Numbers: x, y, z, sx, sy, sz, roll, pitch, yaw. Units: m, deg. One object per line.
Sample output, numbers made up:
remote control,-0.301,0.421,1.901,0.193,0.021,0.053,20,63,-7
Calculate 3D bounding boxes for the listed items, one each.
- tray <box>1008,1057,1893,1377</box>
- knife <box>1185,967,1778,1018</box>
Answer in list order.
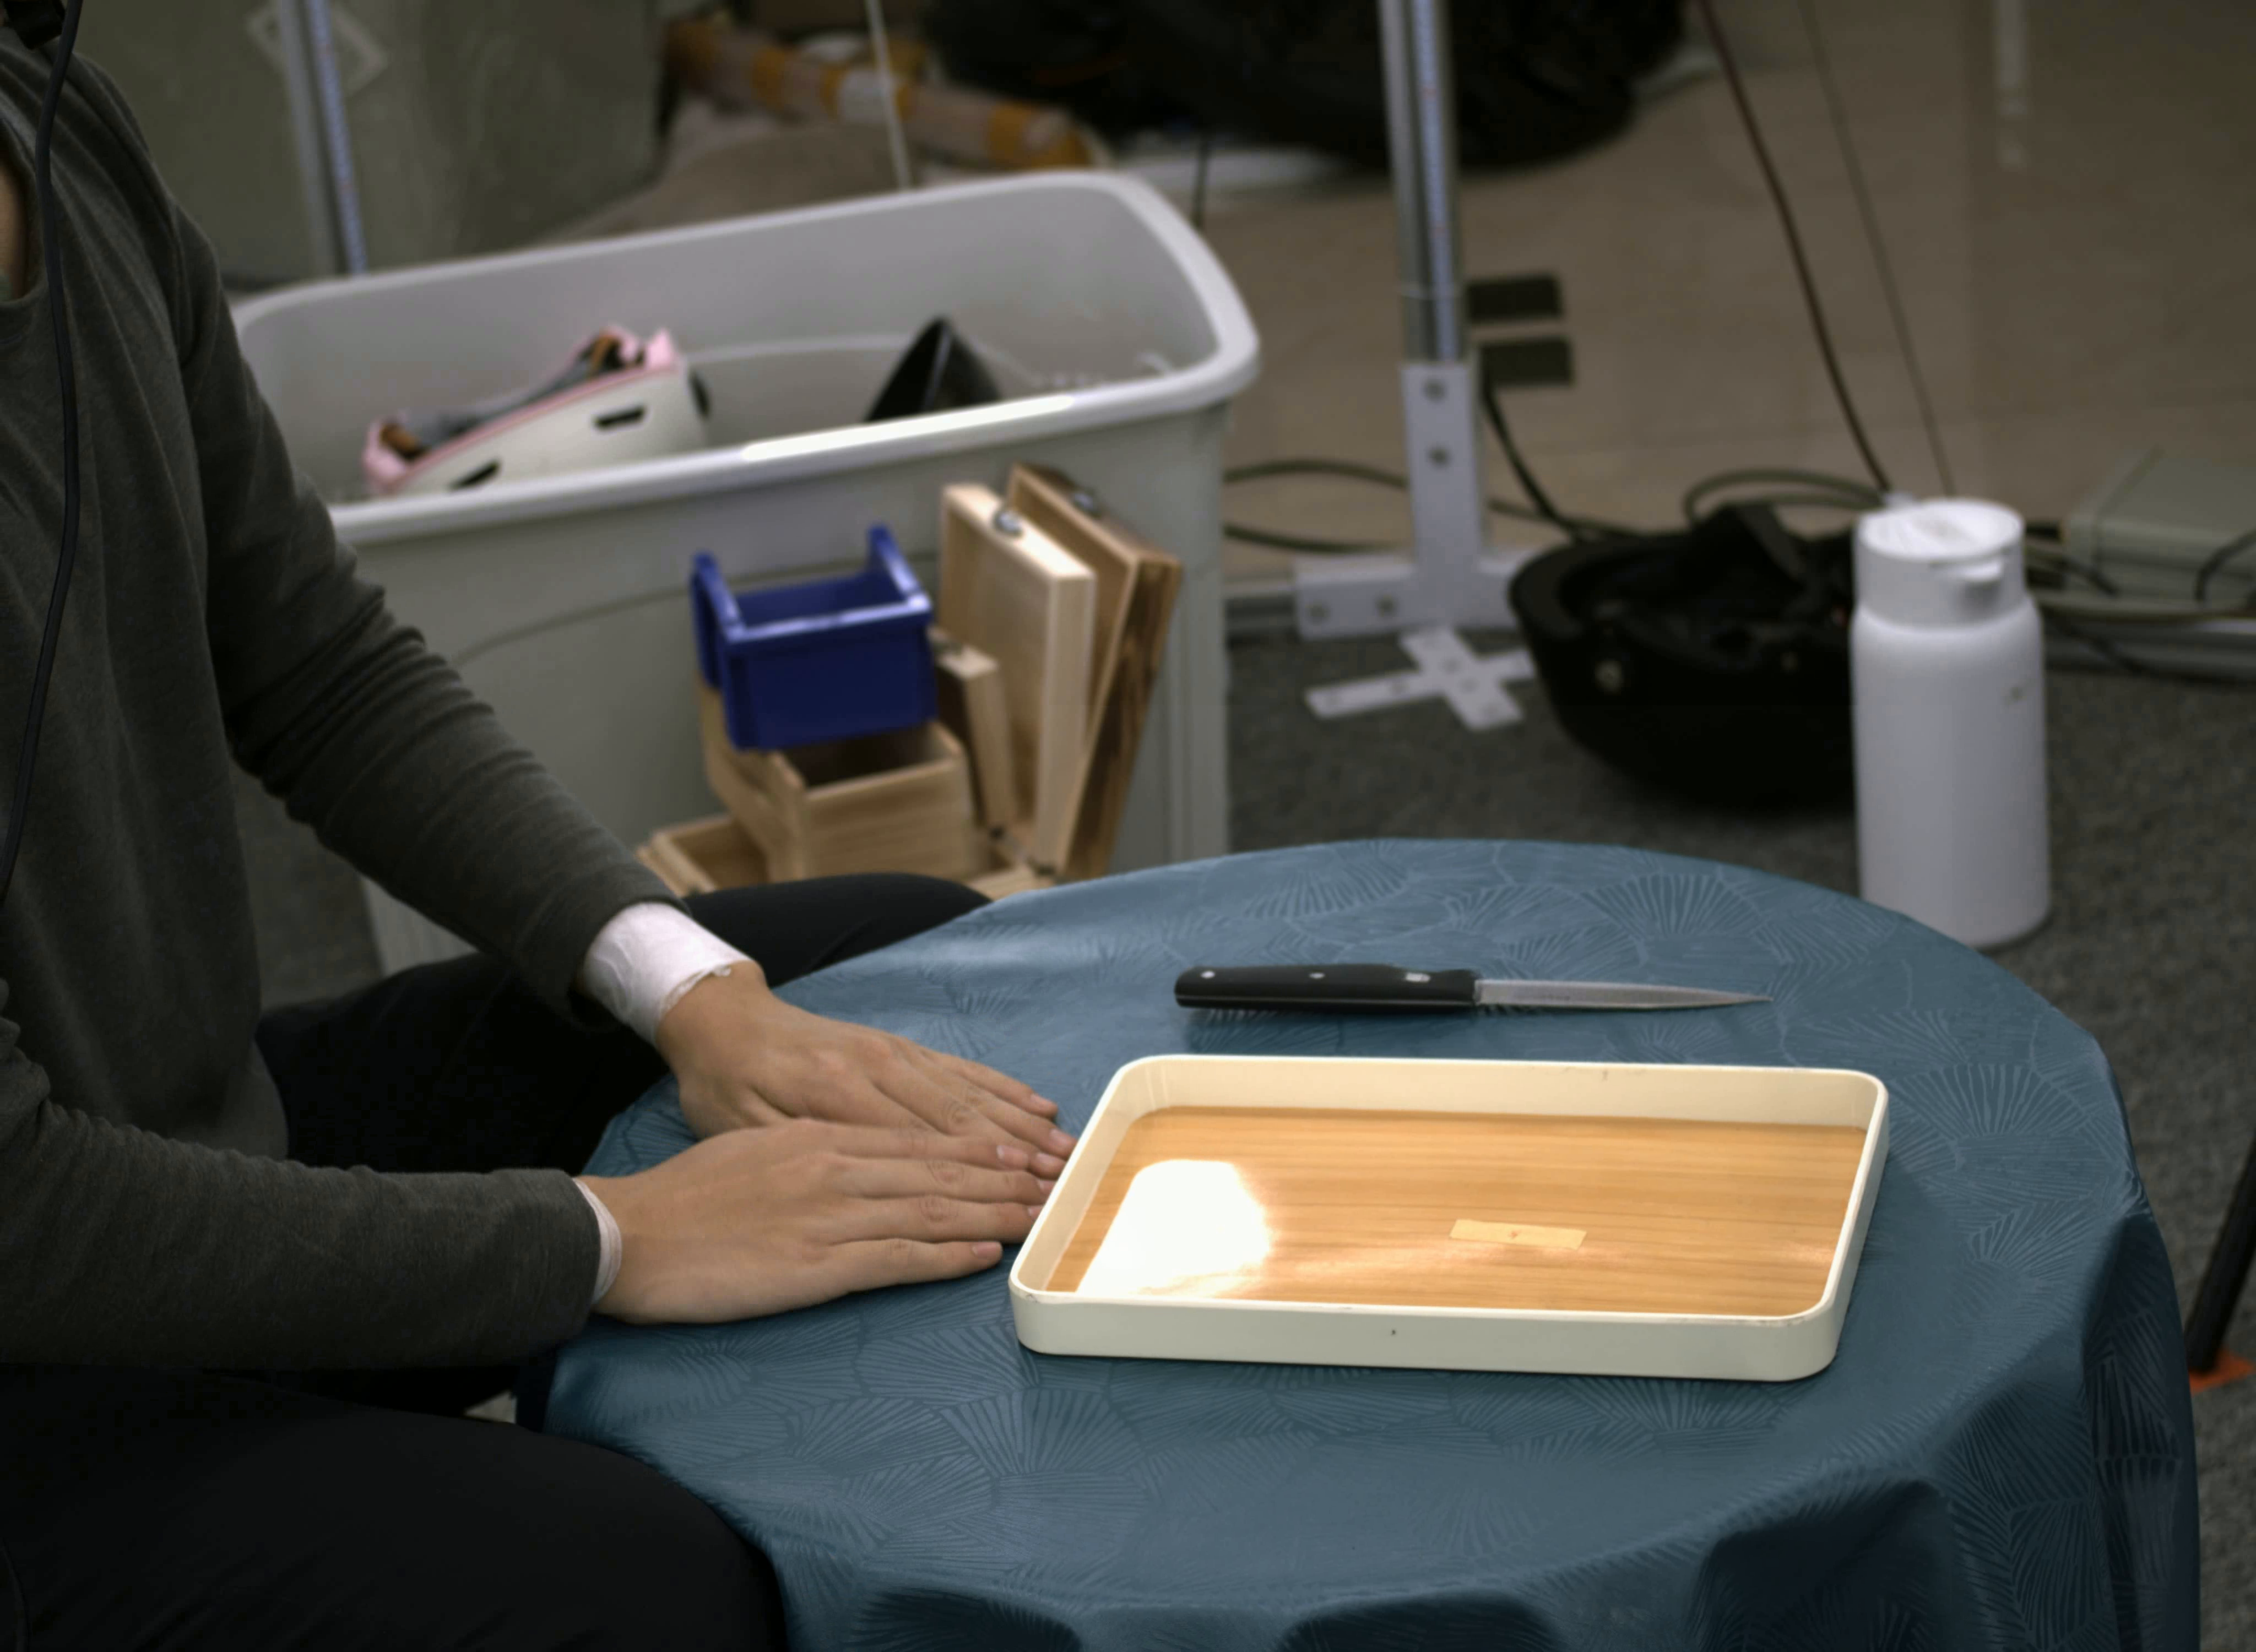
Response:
tray,0.121,0.141,2.085,0.299,0.028,0.189,1,25,16
knife,0.139,0.067,2.259,0.238,0.016,0.024,0,28,9
